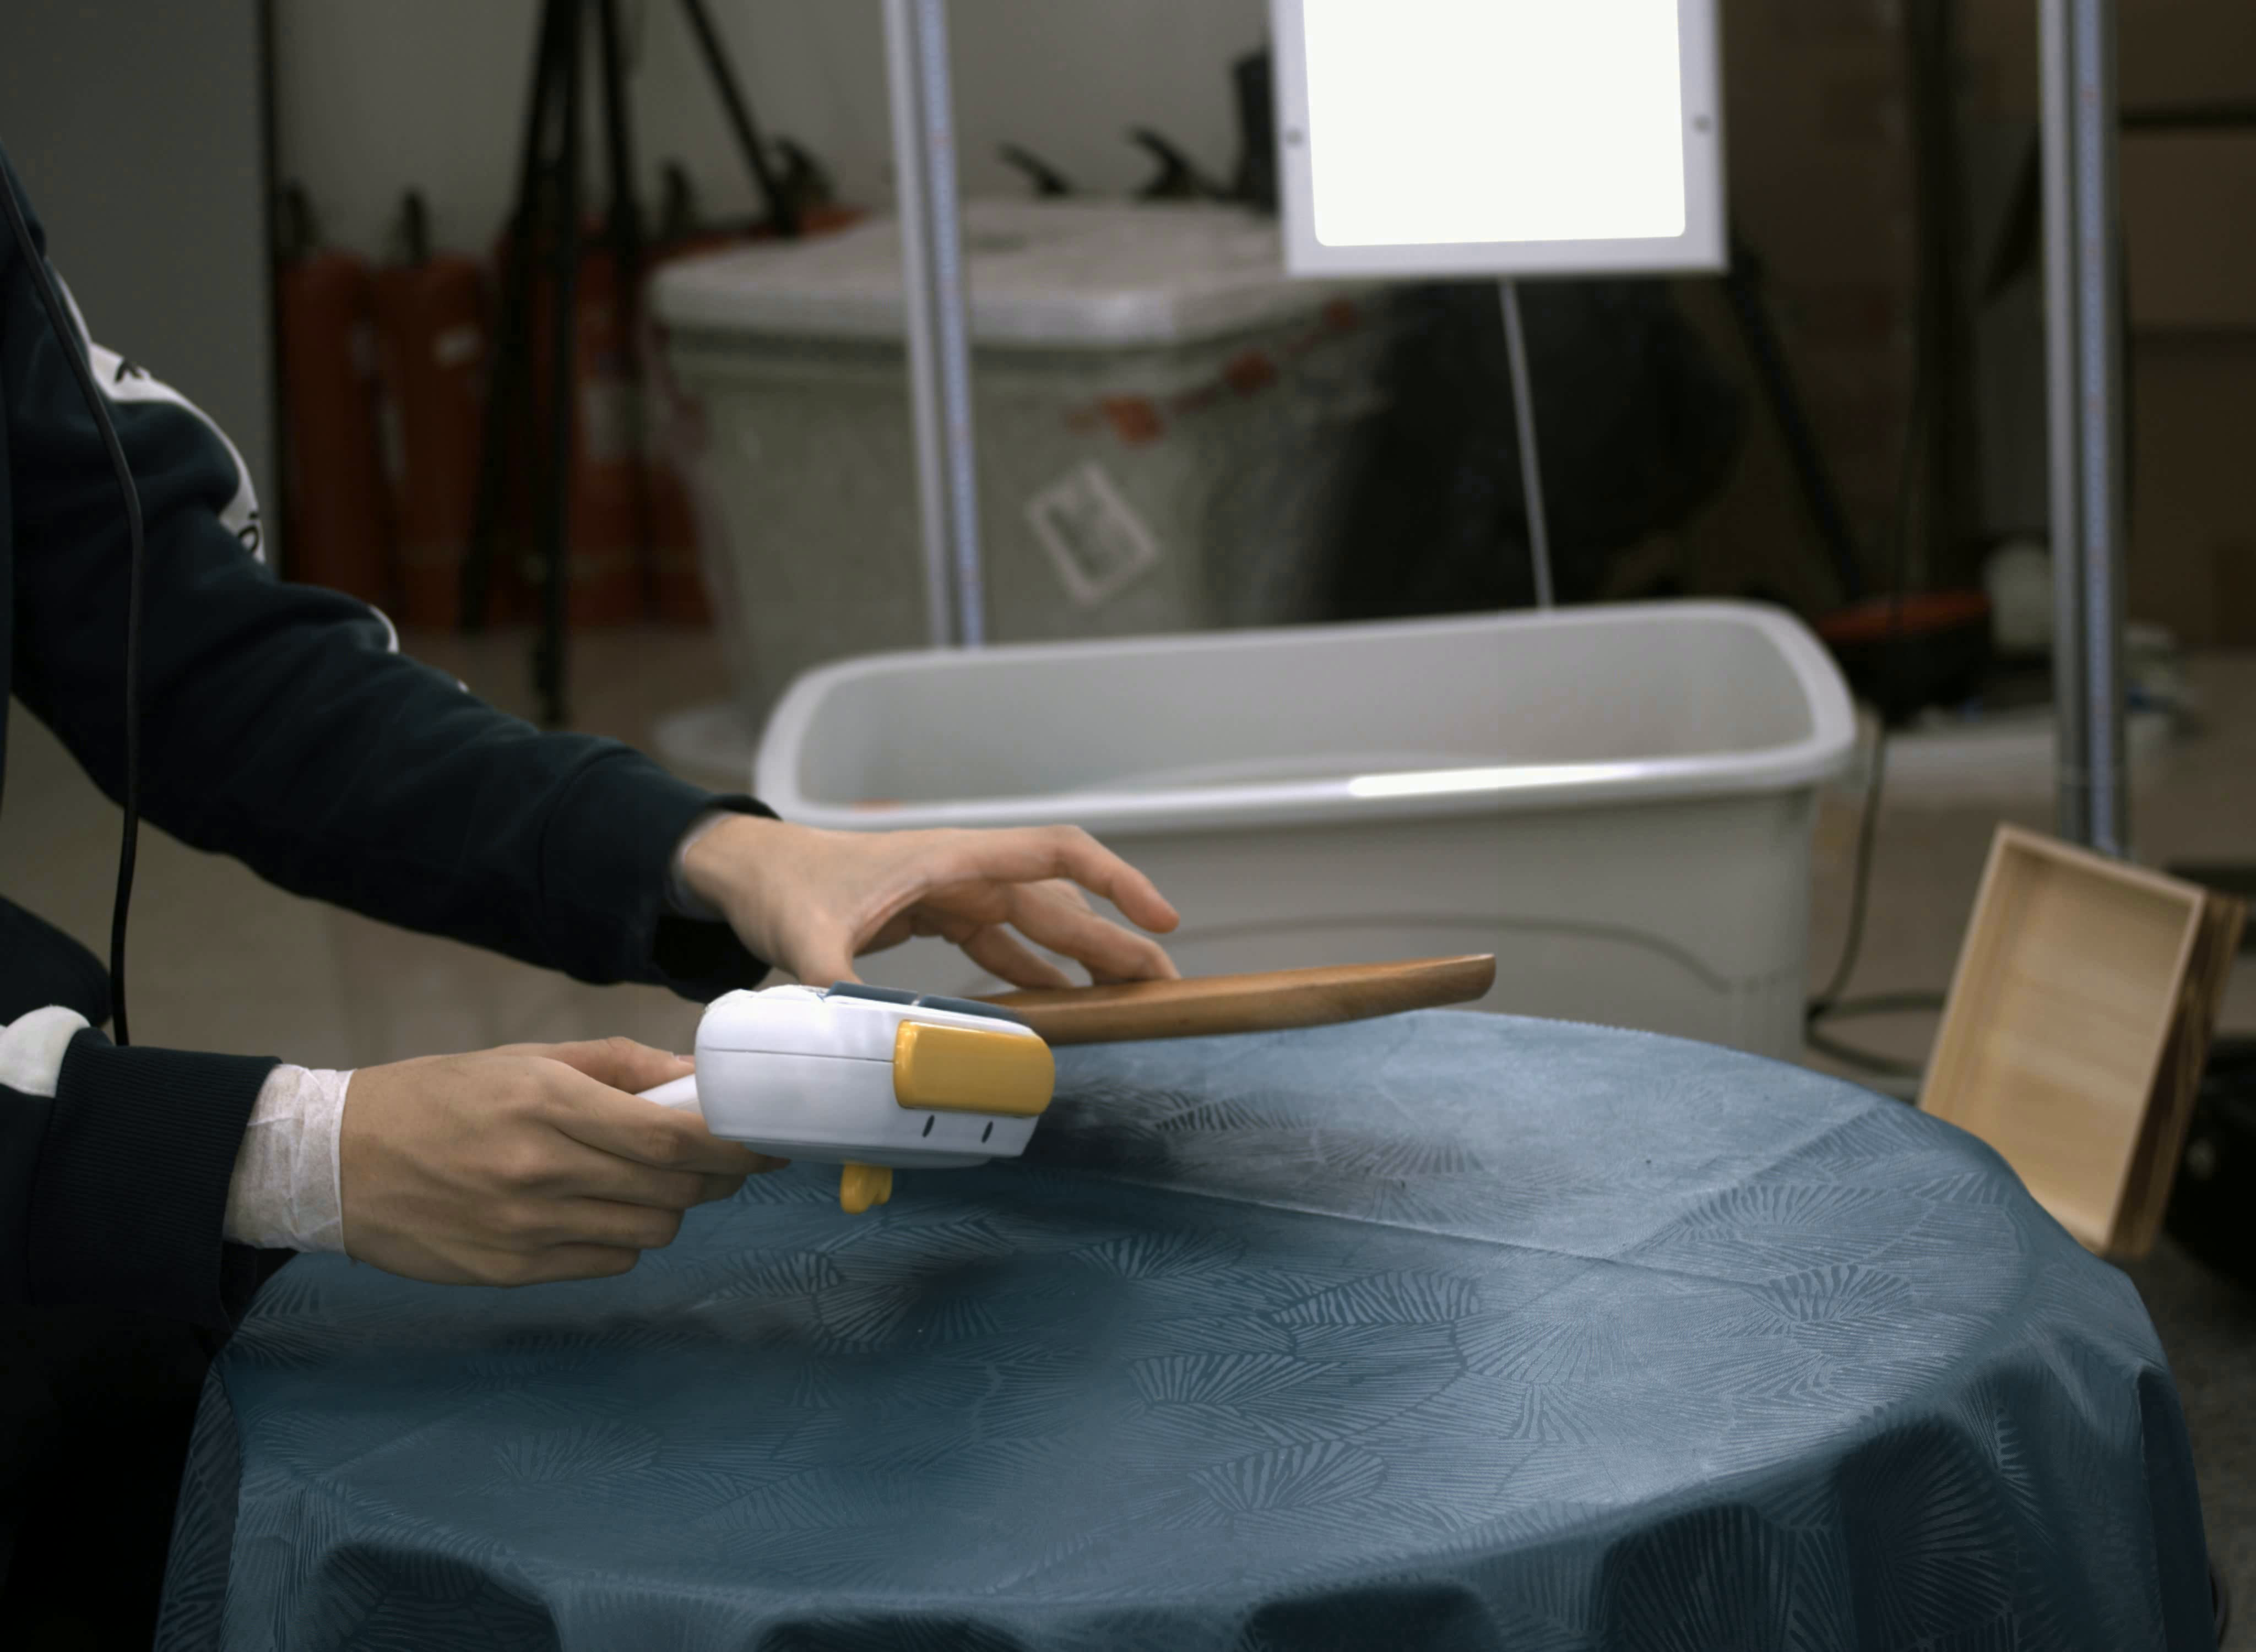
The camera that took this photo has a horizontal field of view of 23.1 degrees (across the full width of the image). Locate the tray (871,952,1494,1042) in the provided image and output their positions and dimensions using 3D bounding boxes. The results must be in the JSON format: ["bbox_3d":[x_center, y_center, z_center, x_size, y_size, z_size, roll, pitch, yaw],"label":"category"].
[{"bbox_3d":[0.002,0.063,1.923,0.256,0.023,0.127,-7,-4,41],"label":"tray"}]

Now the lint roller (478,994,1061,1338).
[{"bbox_3d":[-0.132,0.111,1.783,0.195,0.074,0.189,-20,-9,23],"label":"lint roller"}]
